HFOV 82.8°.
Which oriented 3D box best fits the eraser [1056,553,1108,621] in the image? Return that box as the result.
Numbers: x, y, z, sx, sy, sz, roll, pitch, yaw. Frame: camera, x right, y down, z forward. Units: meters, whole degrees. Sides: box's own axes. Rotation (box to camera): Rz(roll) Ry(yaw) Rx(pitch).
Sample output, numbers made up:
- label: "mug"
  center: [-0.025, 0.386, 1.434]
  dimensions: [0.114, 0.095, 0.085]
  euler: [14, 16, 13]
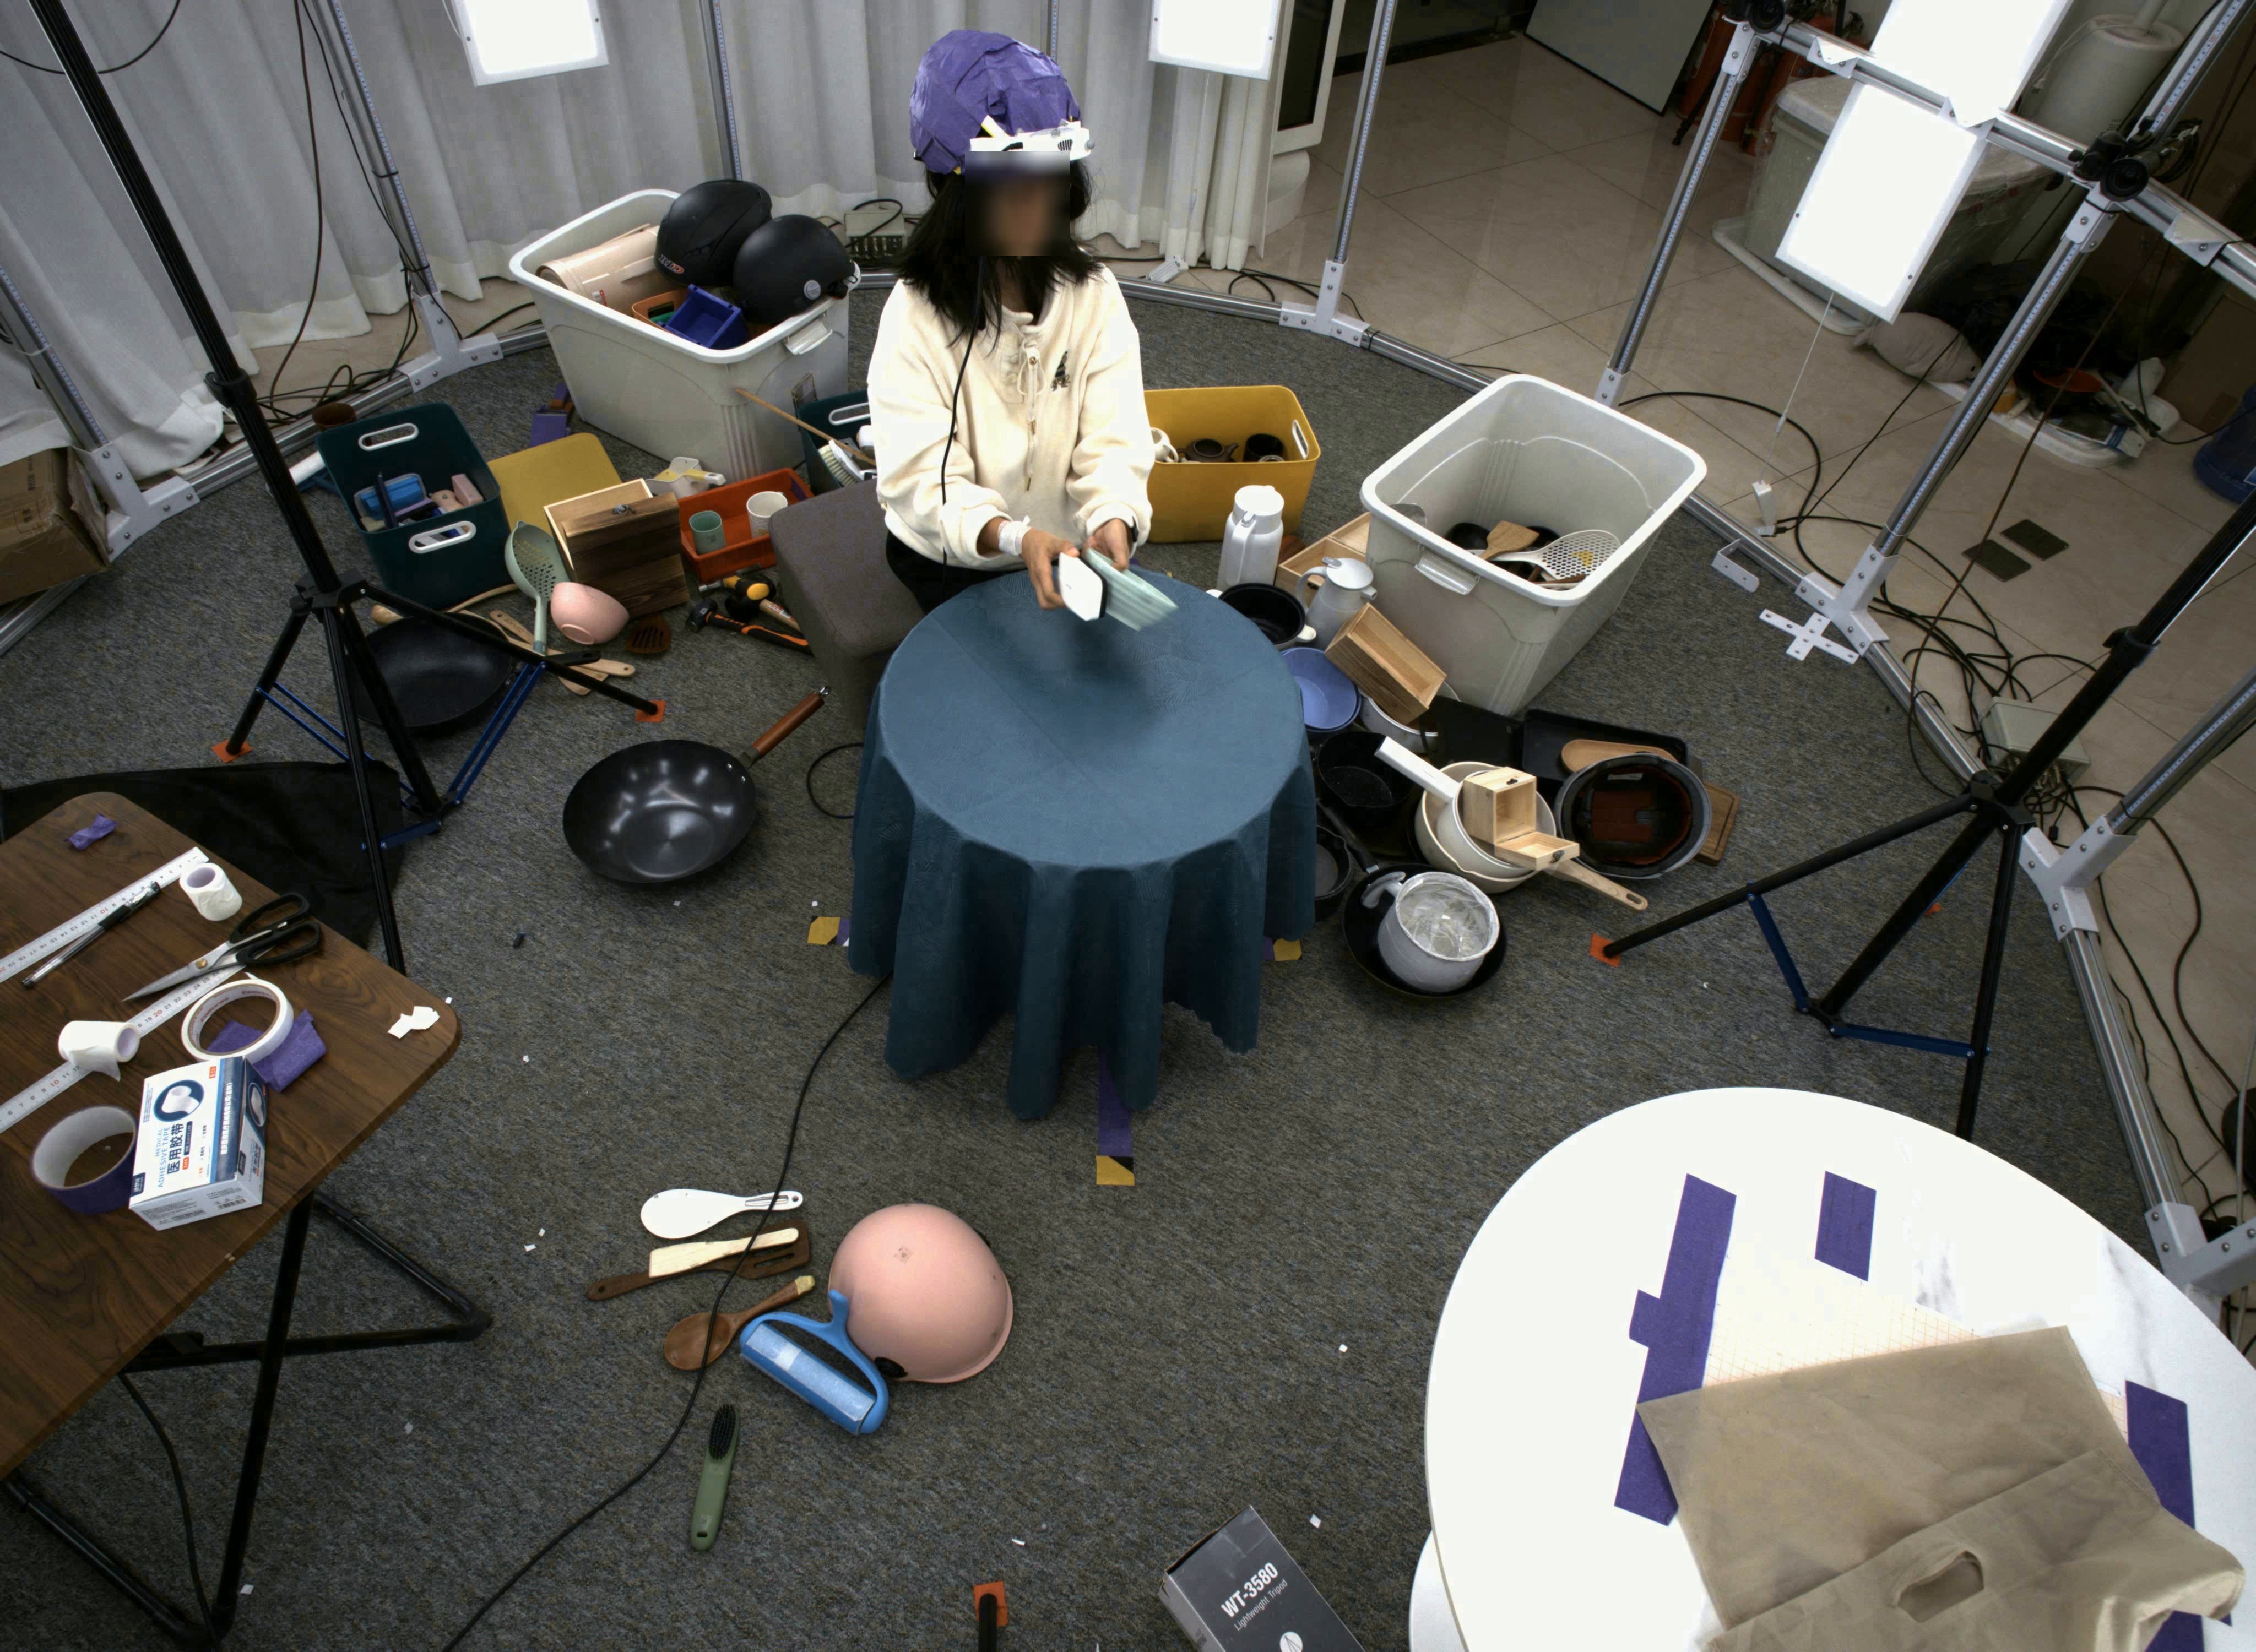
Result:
- label: "eraser"
  center: [-0.066, -0.325, 1.739]
  dimensions: [0.034, 0.062, 0.134]
  euler: [-5, 30, -23]

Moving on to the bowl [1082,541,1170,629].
- label: "bowl"
  center: [-0.015, -0.327, 1.785]
  dimensions: [0.154, 0.058, 0.150]
  euler: [46, 14, 29]
